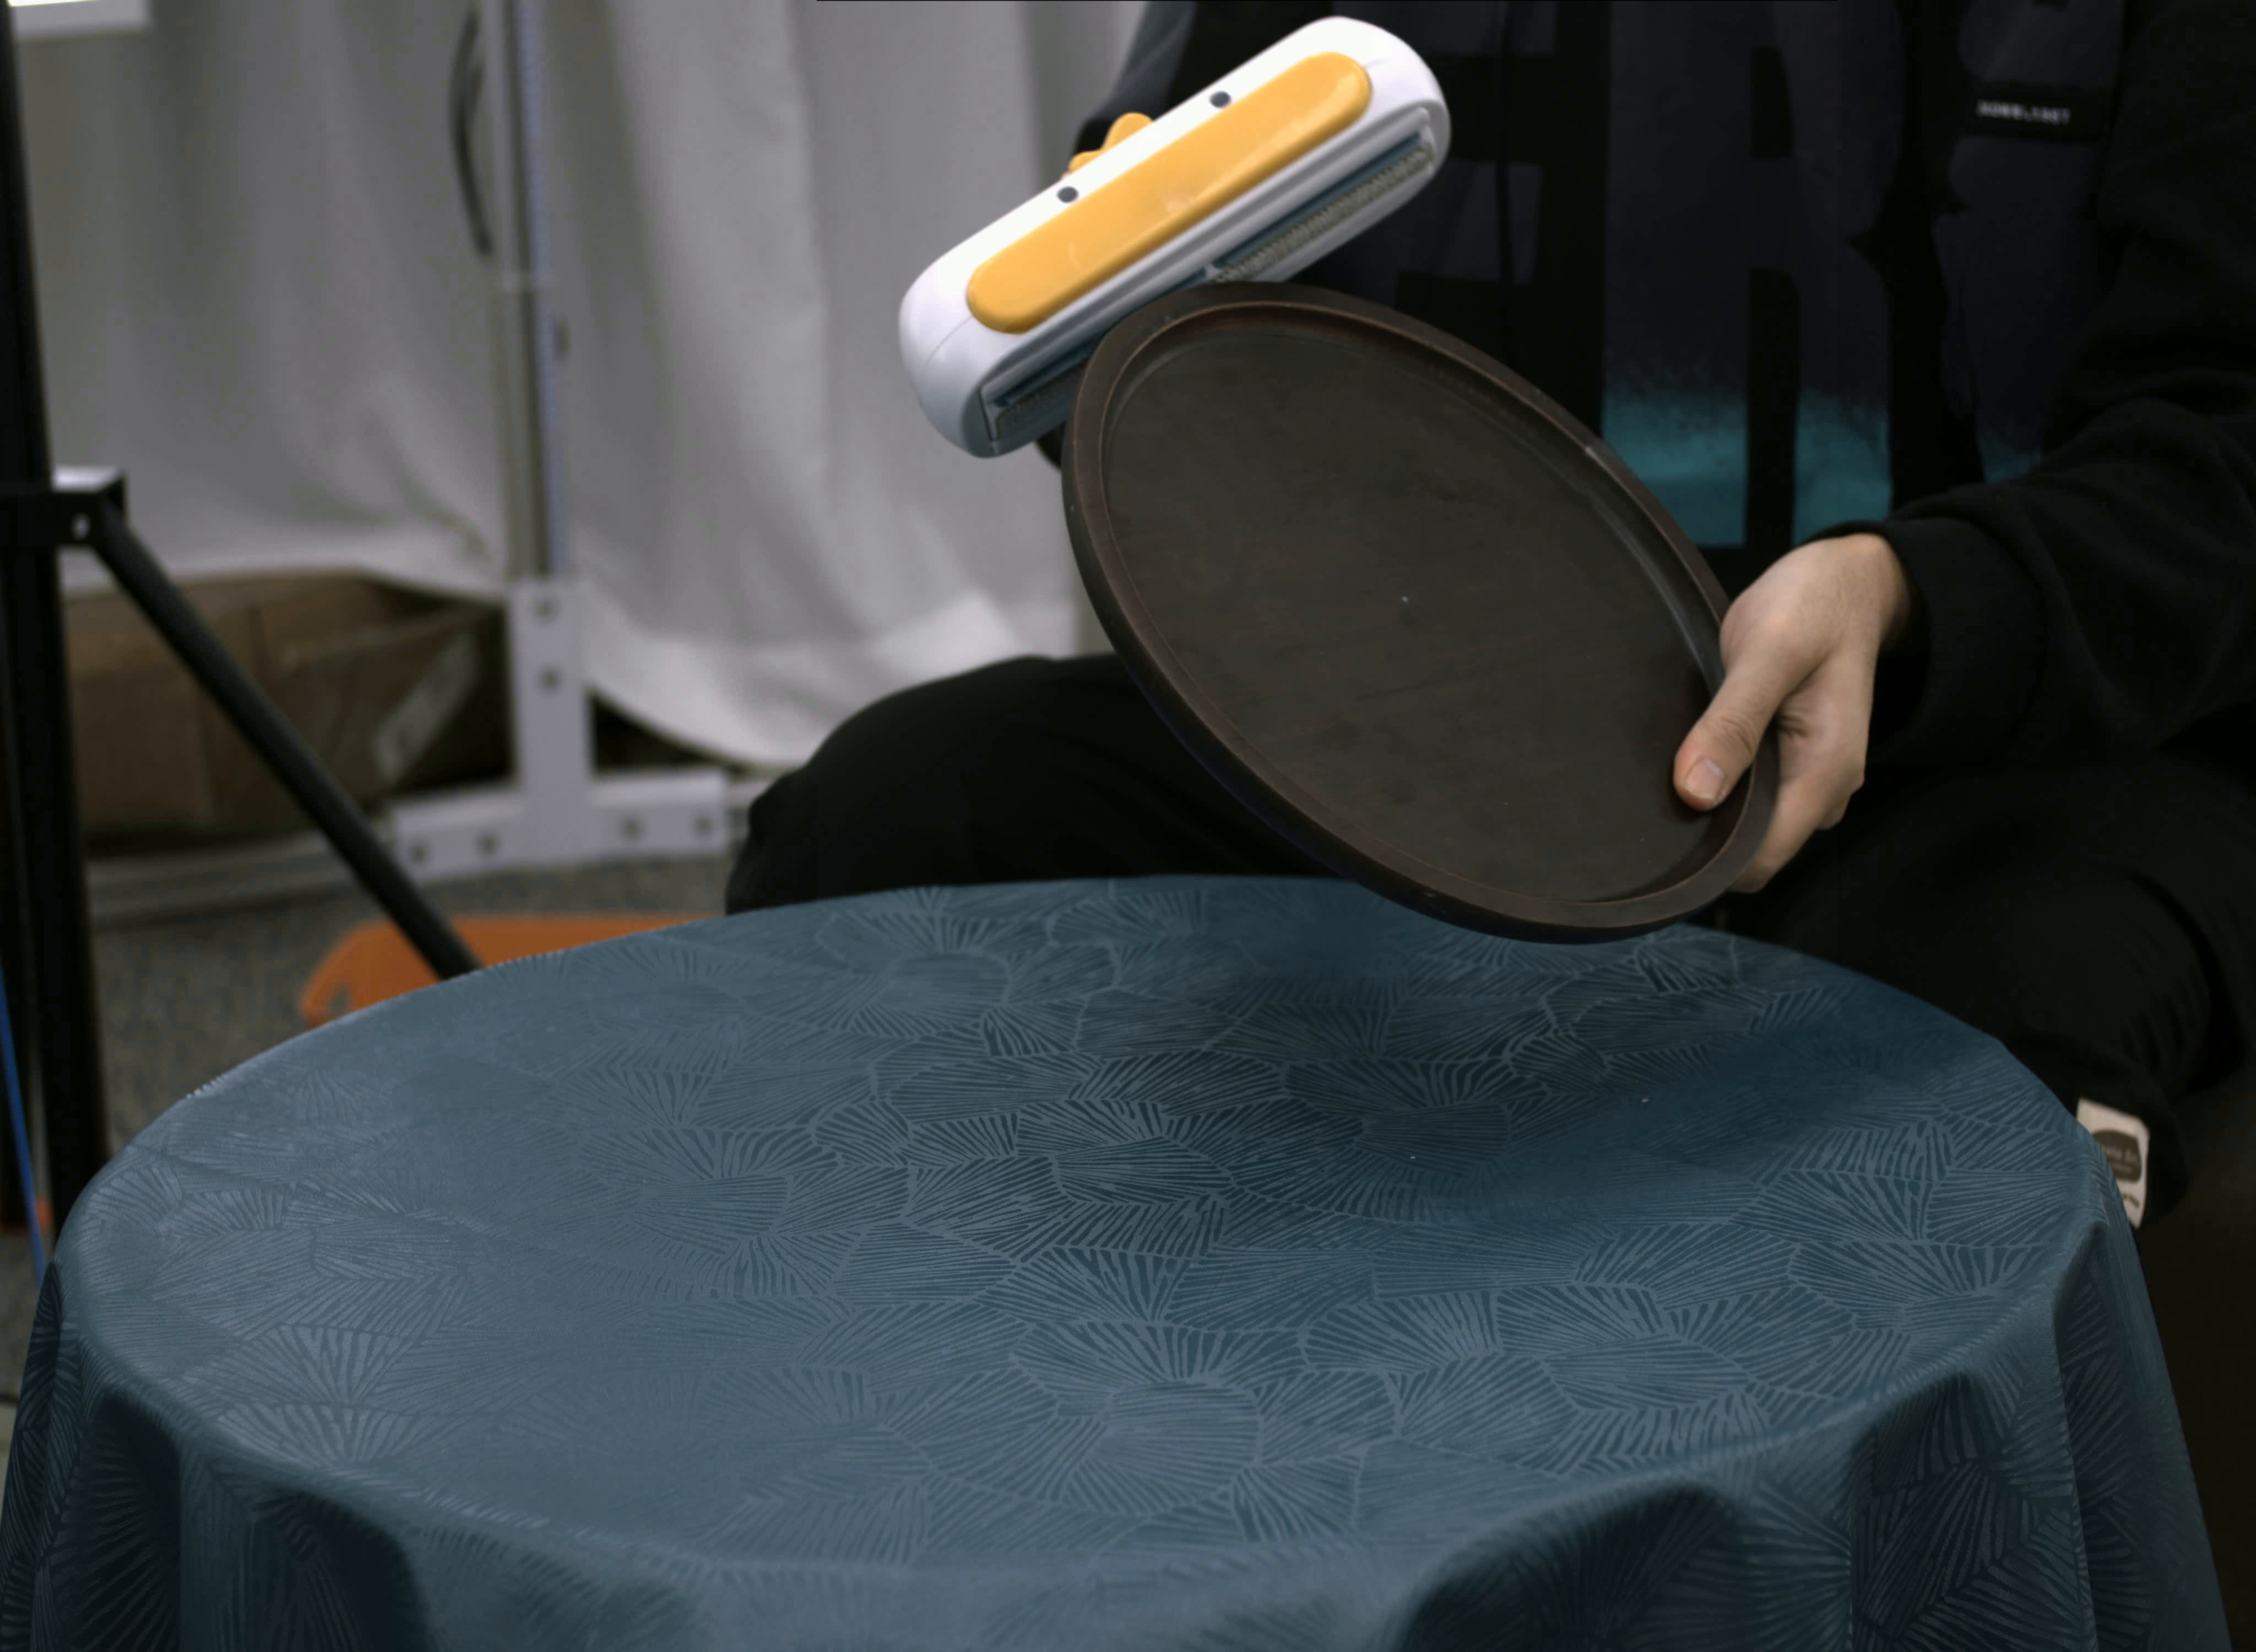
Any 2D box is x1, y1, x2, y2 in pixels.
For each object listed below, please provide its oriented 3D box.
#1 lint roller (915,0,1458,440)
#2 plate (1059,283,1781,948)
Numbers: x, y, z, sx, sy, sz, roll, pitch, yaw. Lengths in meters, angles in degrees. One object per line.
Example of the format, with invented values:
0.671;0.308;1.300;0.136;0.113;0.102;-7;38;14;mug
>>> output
0.012;-0.176;1.735;0.191;0.075;0.191;-37;-15;-13;lint roller
0.088;-0.064;1.613;0.250;0.029;0.257;20;41;-20;plate
